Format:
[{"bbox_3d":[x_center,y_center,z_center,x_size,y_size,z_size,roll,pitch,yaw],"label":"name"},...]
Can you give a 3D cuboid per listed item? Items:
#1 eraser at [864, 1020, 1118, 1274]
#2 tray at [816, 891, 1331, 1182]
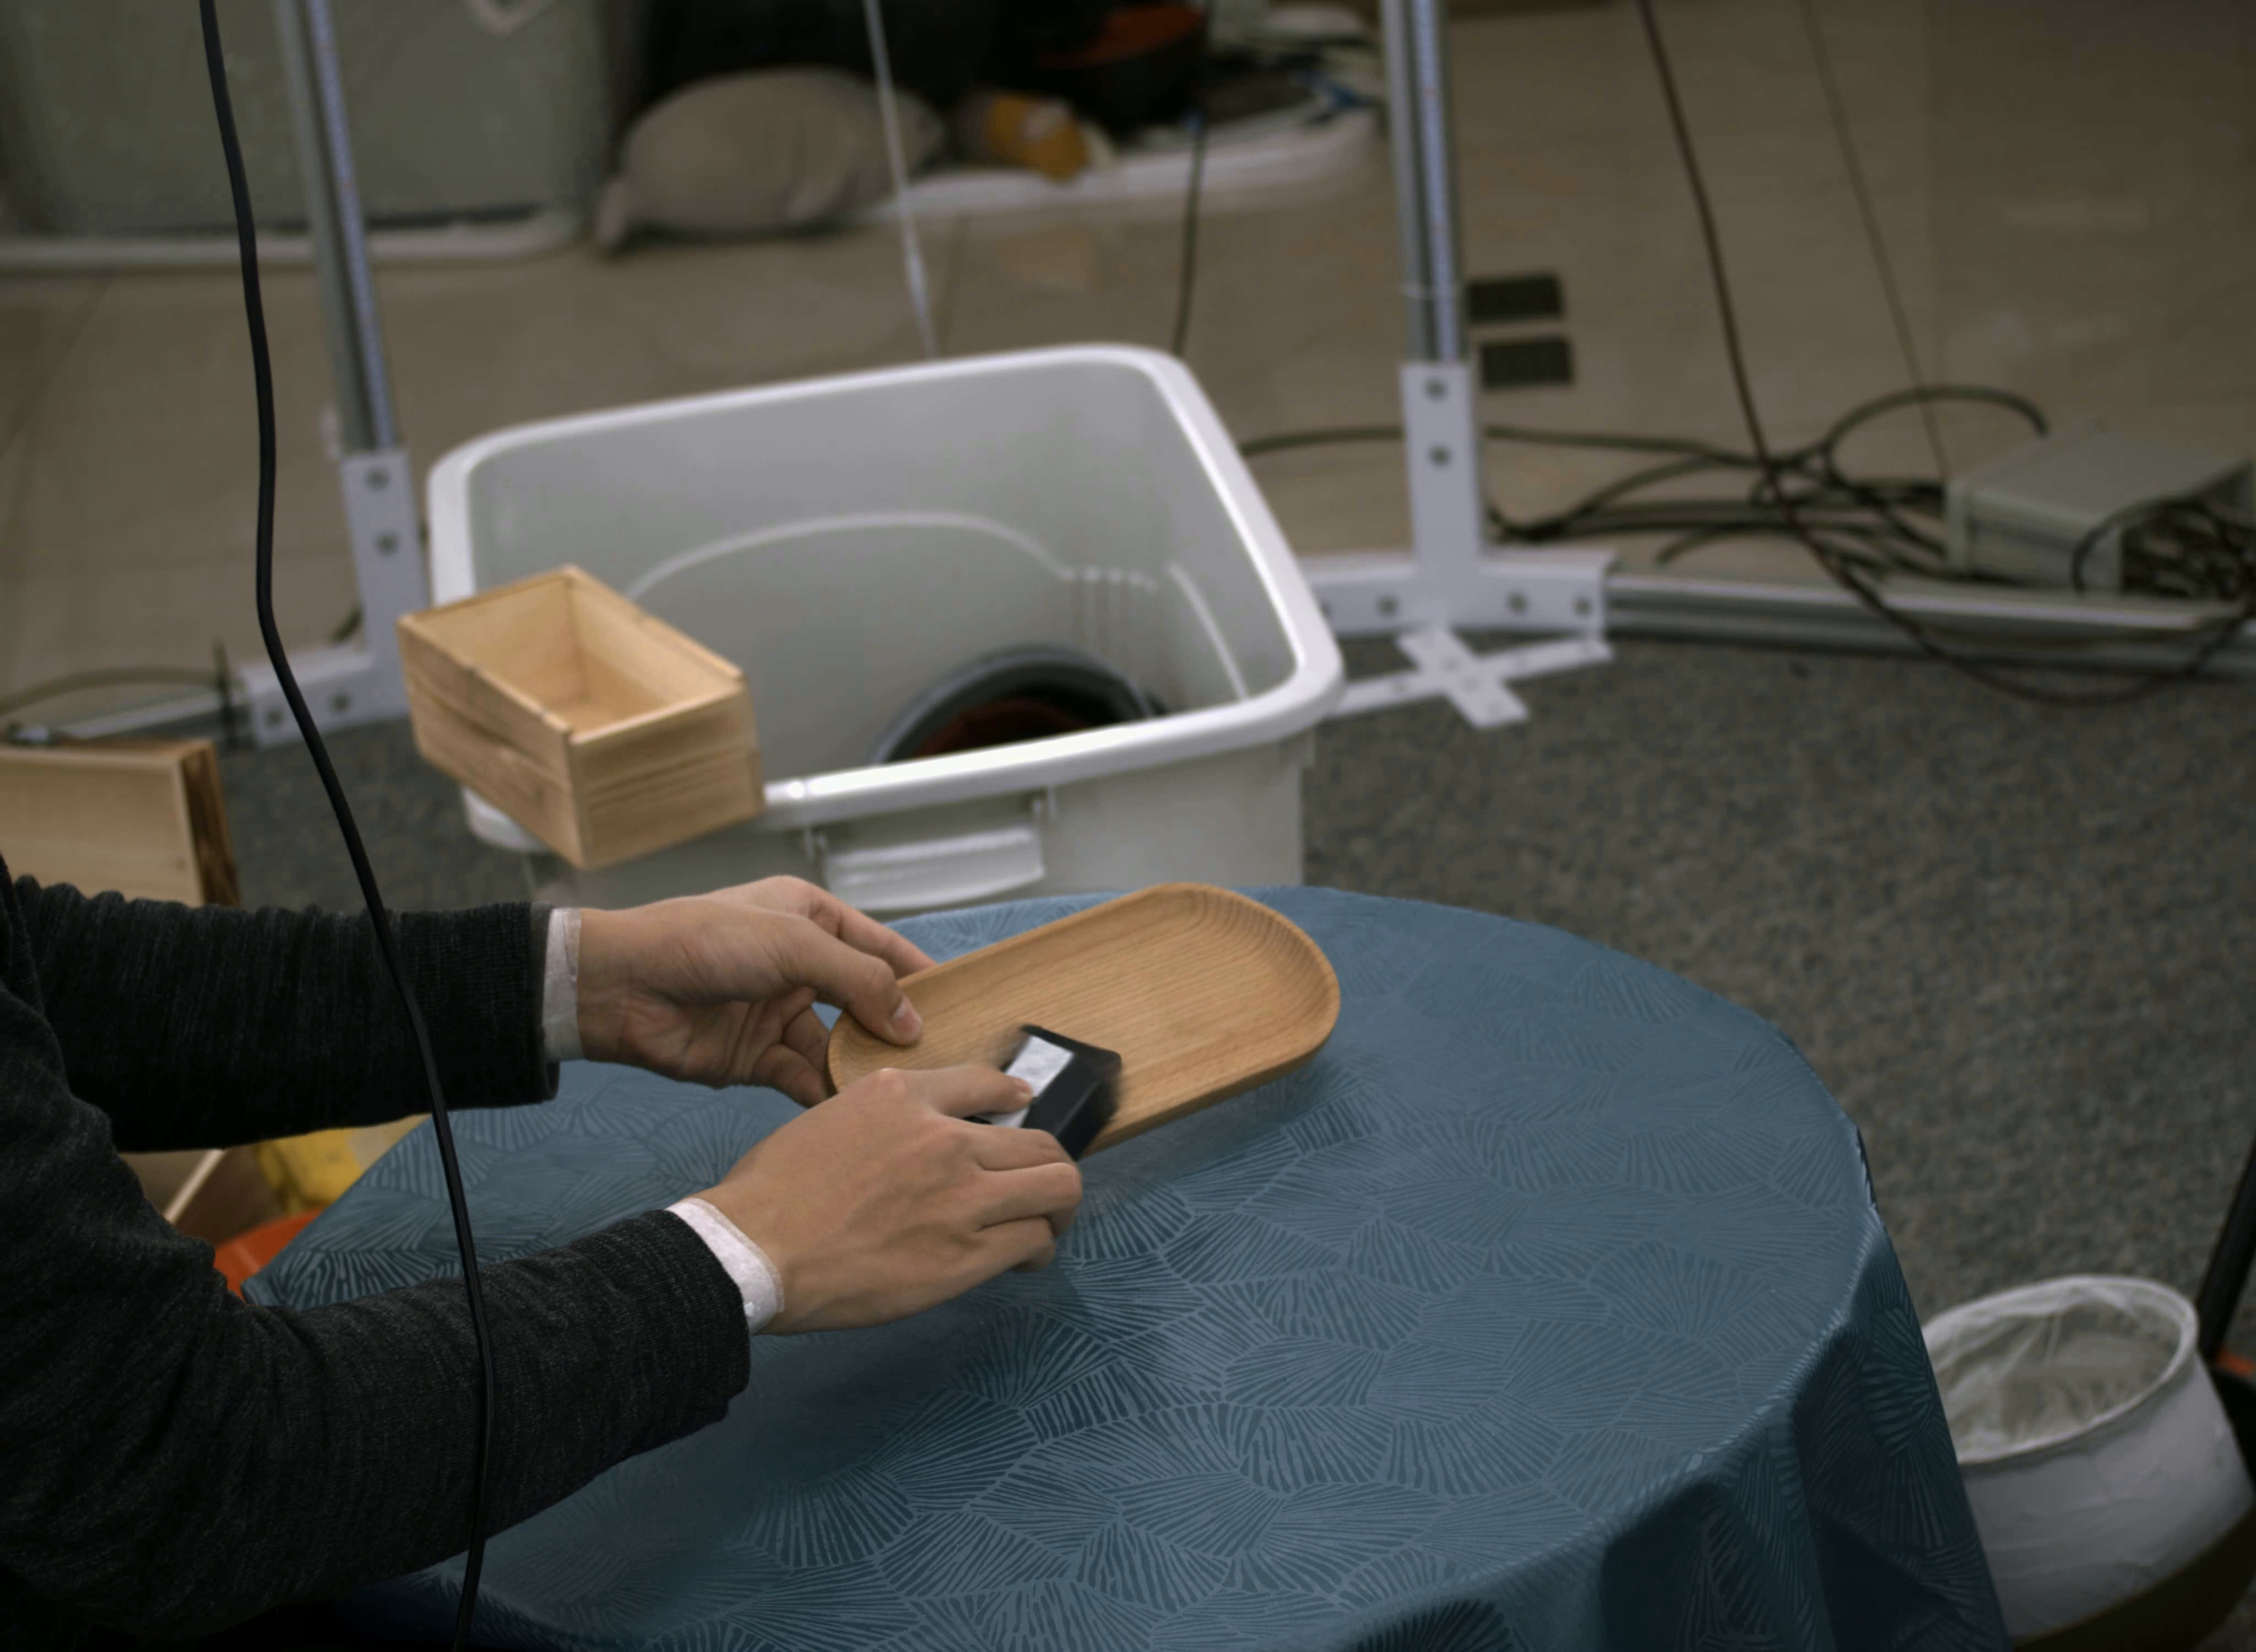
[{"bbox_3d":[-0.050,0.116,2.081,0.053,0.031,0.124,18,33,13],"label":"eraser"},{"bbox_3d":[-0.019,0.084,2.164,0.229,0.021,0.100,-22,54,-36],"label":"tray"}]
